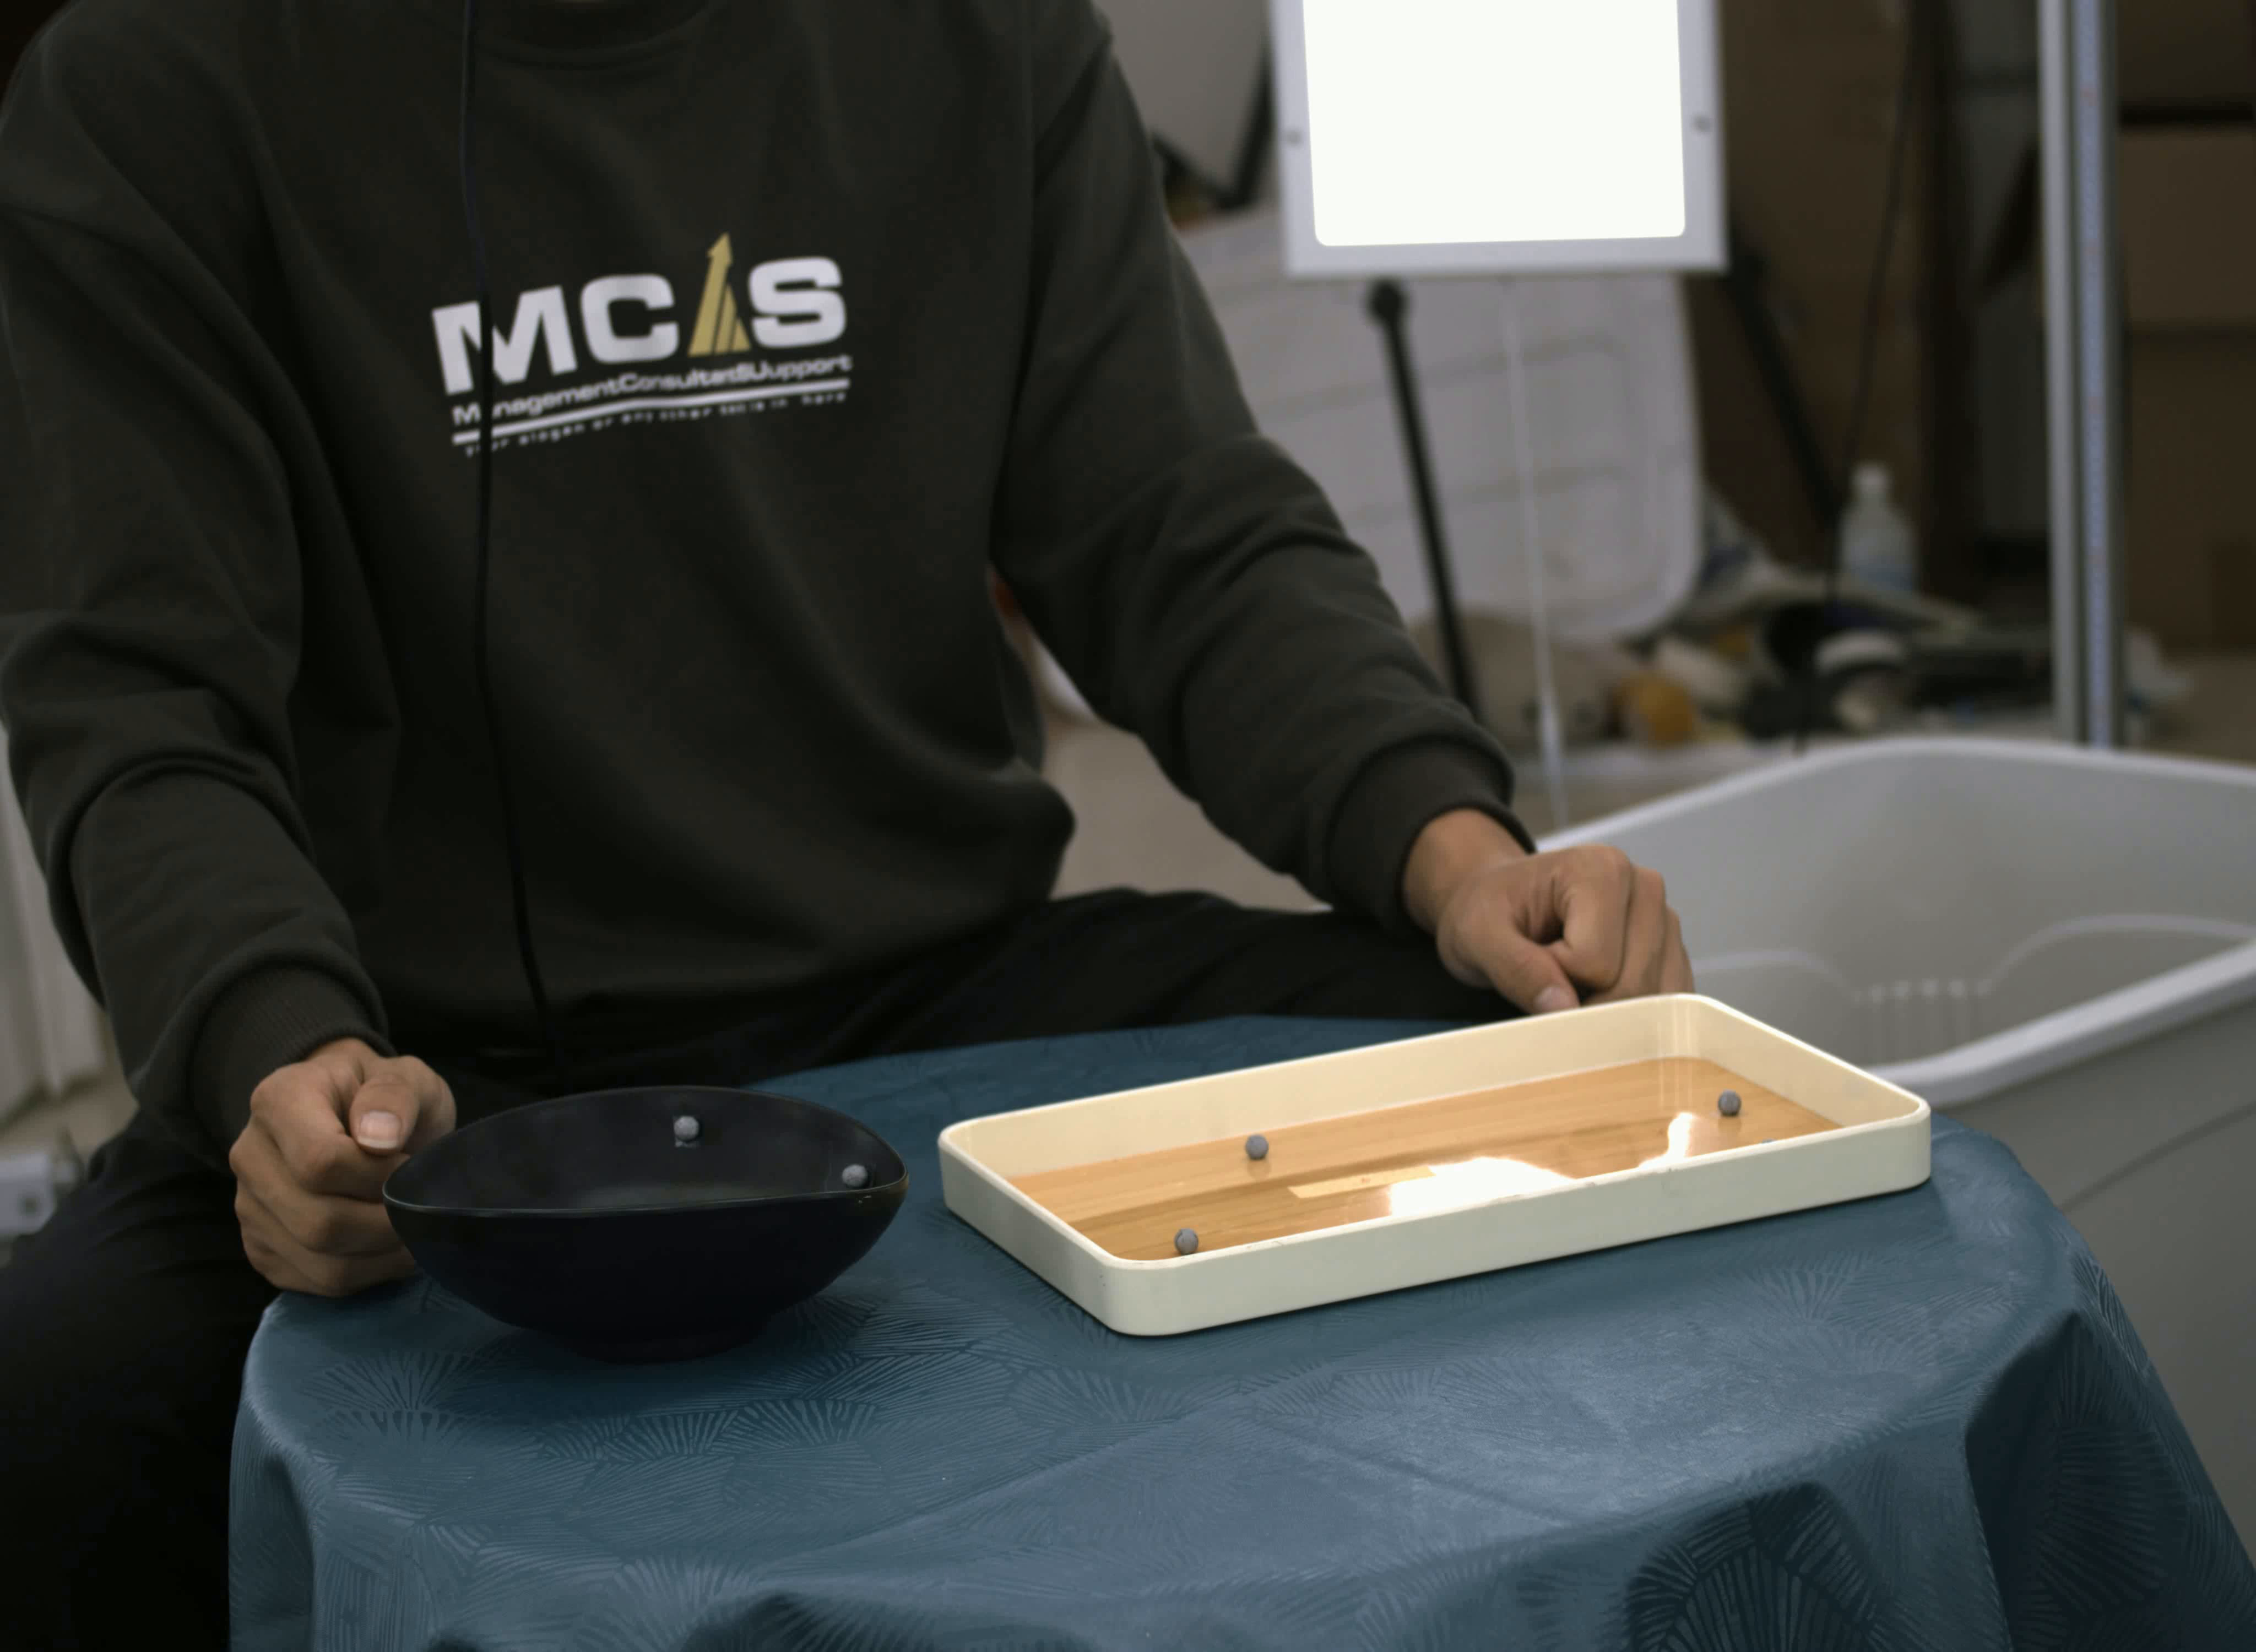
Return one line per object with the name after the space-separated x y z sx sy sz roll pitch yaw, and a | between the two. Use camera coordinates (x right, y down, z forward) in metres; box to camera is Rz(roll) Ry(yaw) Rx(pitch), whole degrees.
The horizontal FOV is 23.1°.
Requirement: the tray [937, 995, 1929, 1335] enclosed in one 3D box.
0.103 0.112 1.866 0.295 0.027 0.194 -10 14 -18 | tray

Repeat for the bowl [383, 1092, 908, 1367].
-0.155 0.134 1.791 0.170 0.067 0.137 -3 15 3 | bowl
